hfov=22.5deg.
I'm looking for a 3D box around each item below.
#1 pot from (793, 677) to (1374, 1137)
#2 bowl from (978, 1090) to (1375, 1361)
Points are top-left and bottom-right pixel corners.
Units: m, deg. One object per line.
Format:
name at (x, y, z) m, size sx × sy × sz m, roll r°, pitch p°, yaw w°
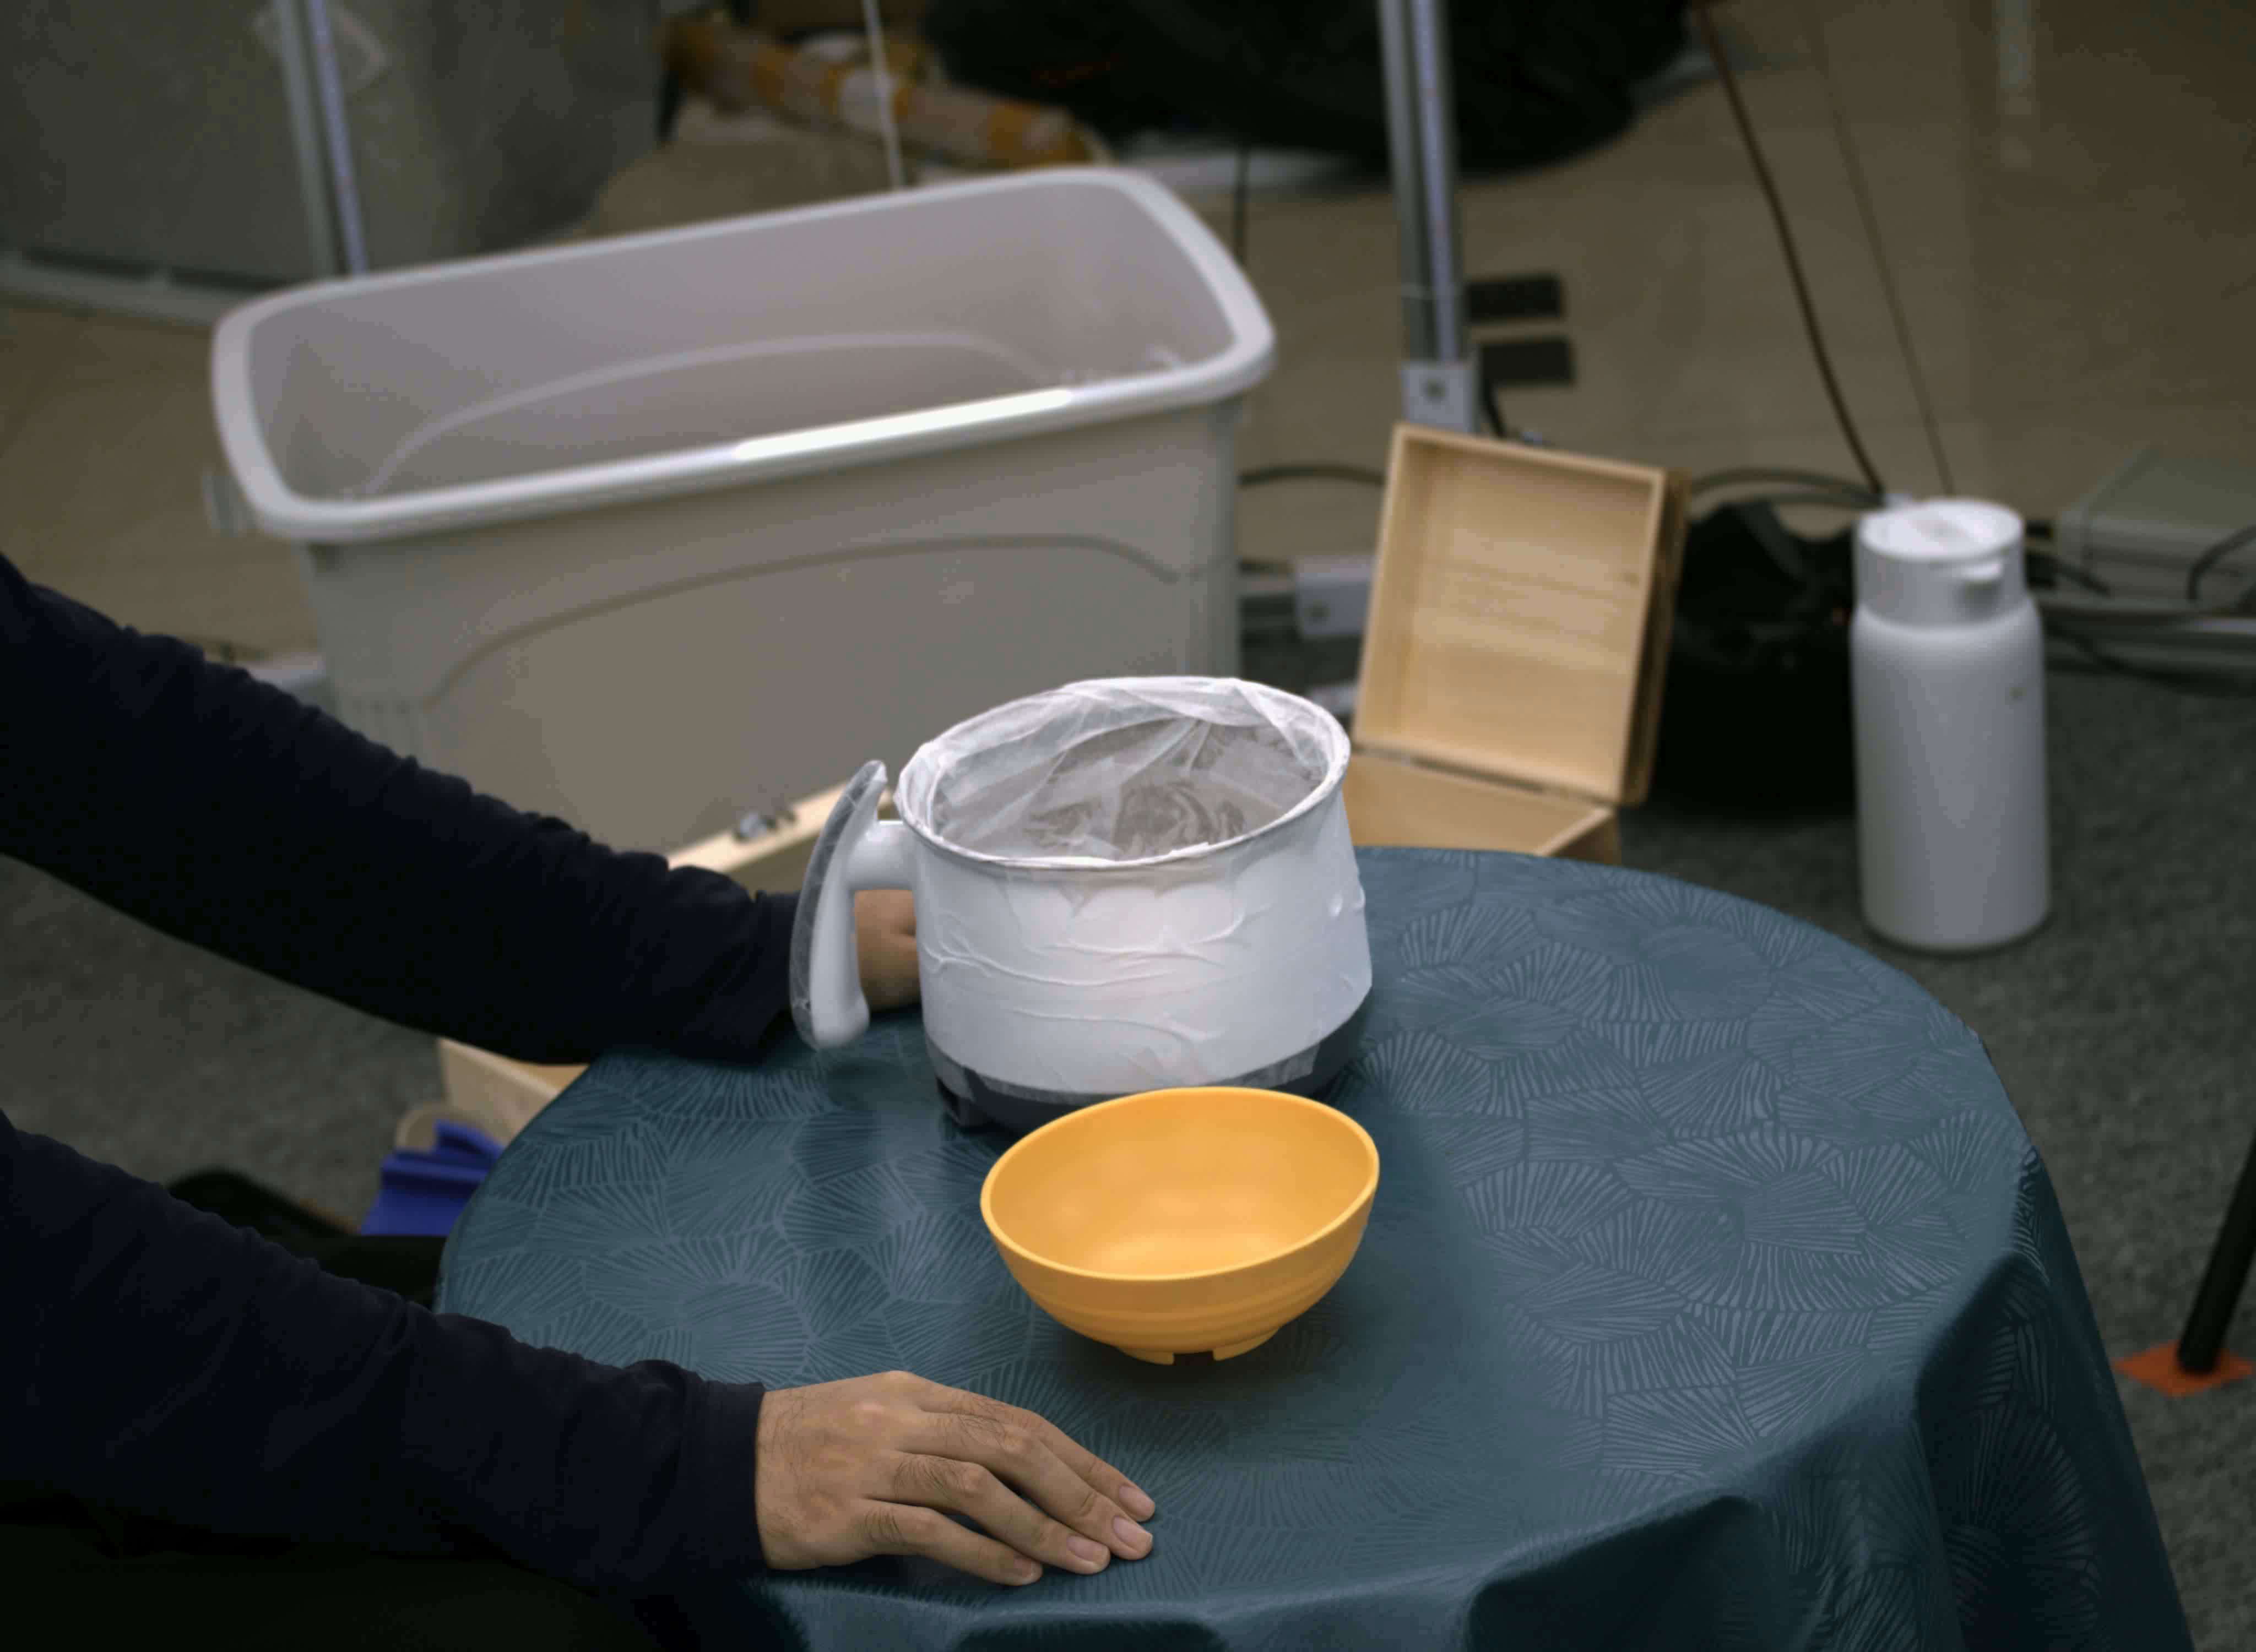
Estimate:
pot at (-0.022, 0.037, 2.217) m, size 0.233 × 0.139 × 0.176 m, roll -2°, pitch 26°, yaw 12°
bowl at (0.019, 0.152, 2.044) m, size 0.145 × 0.061 × 0.143 m, roll -4°, pitch 24°, yaw 2°
